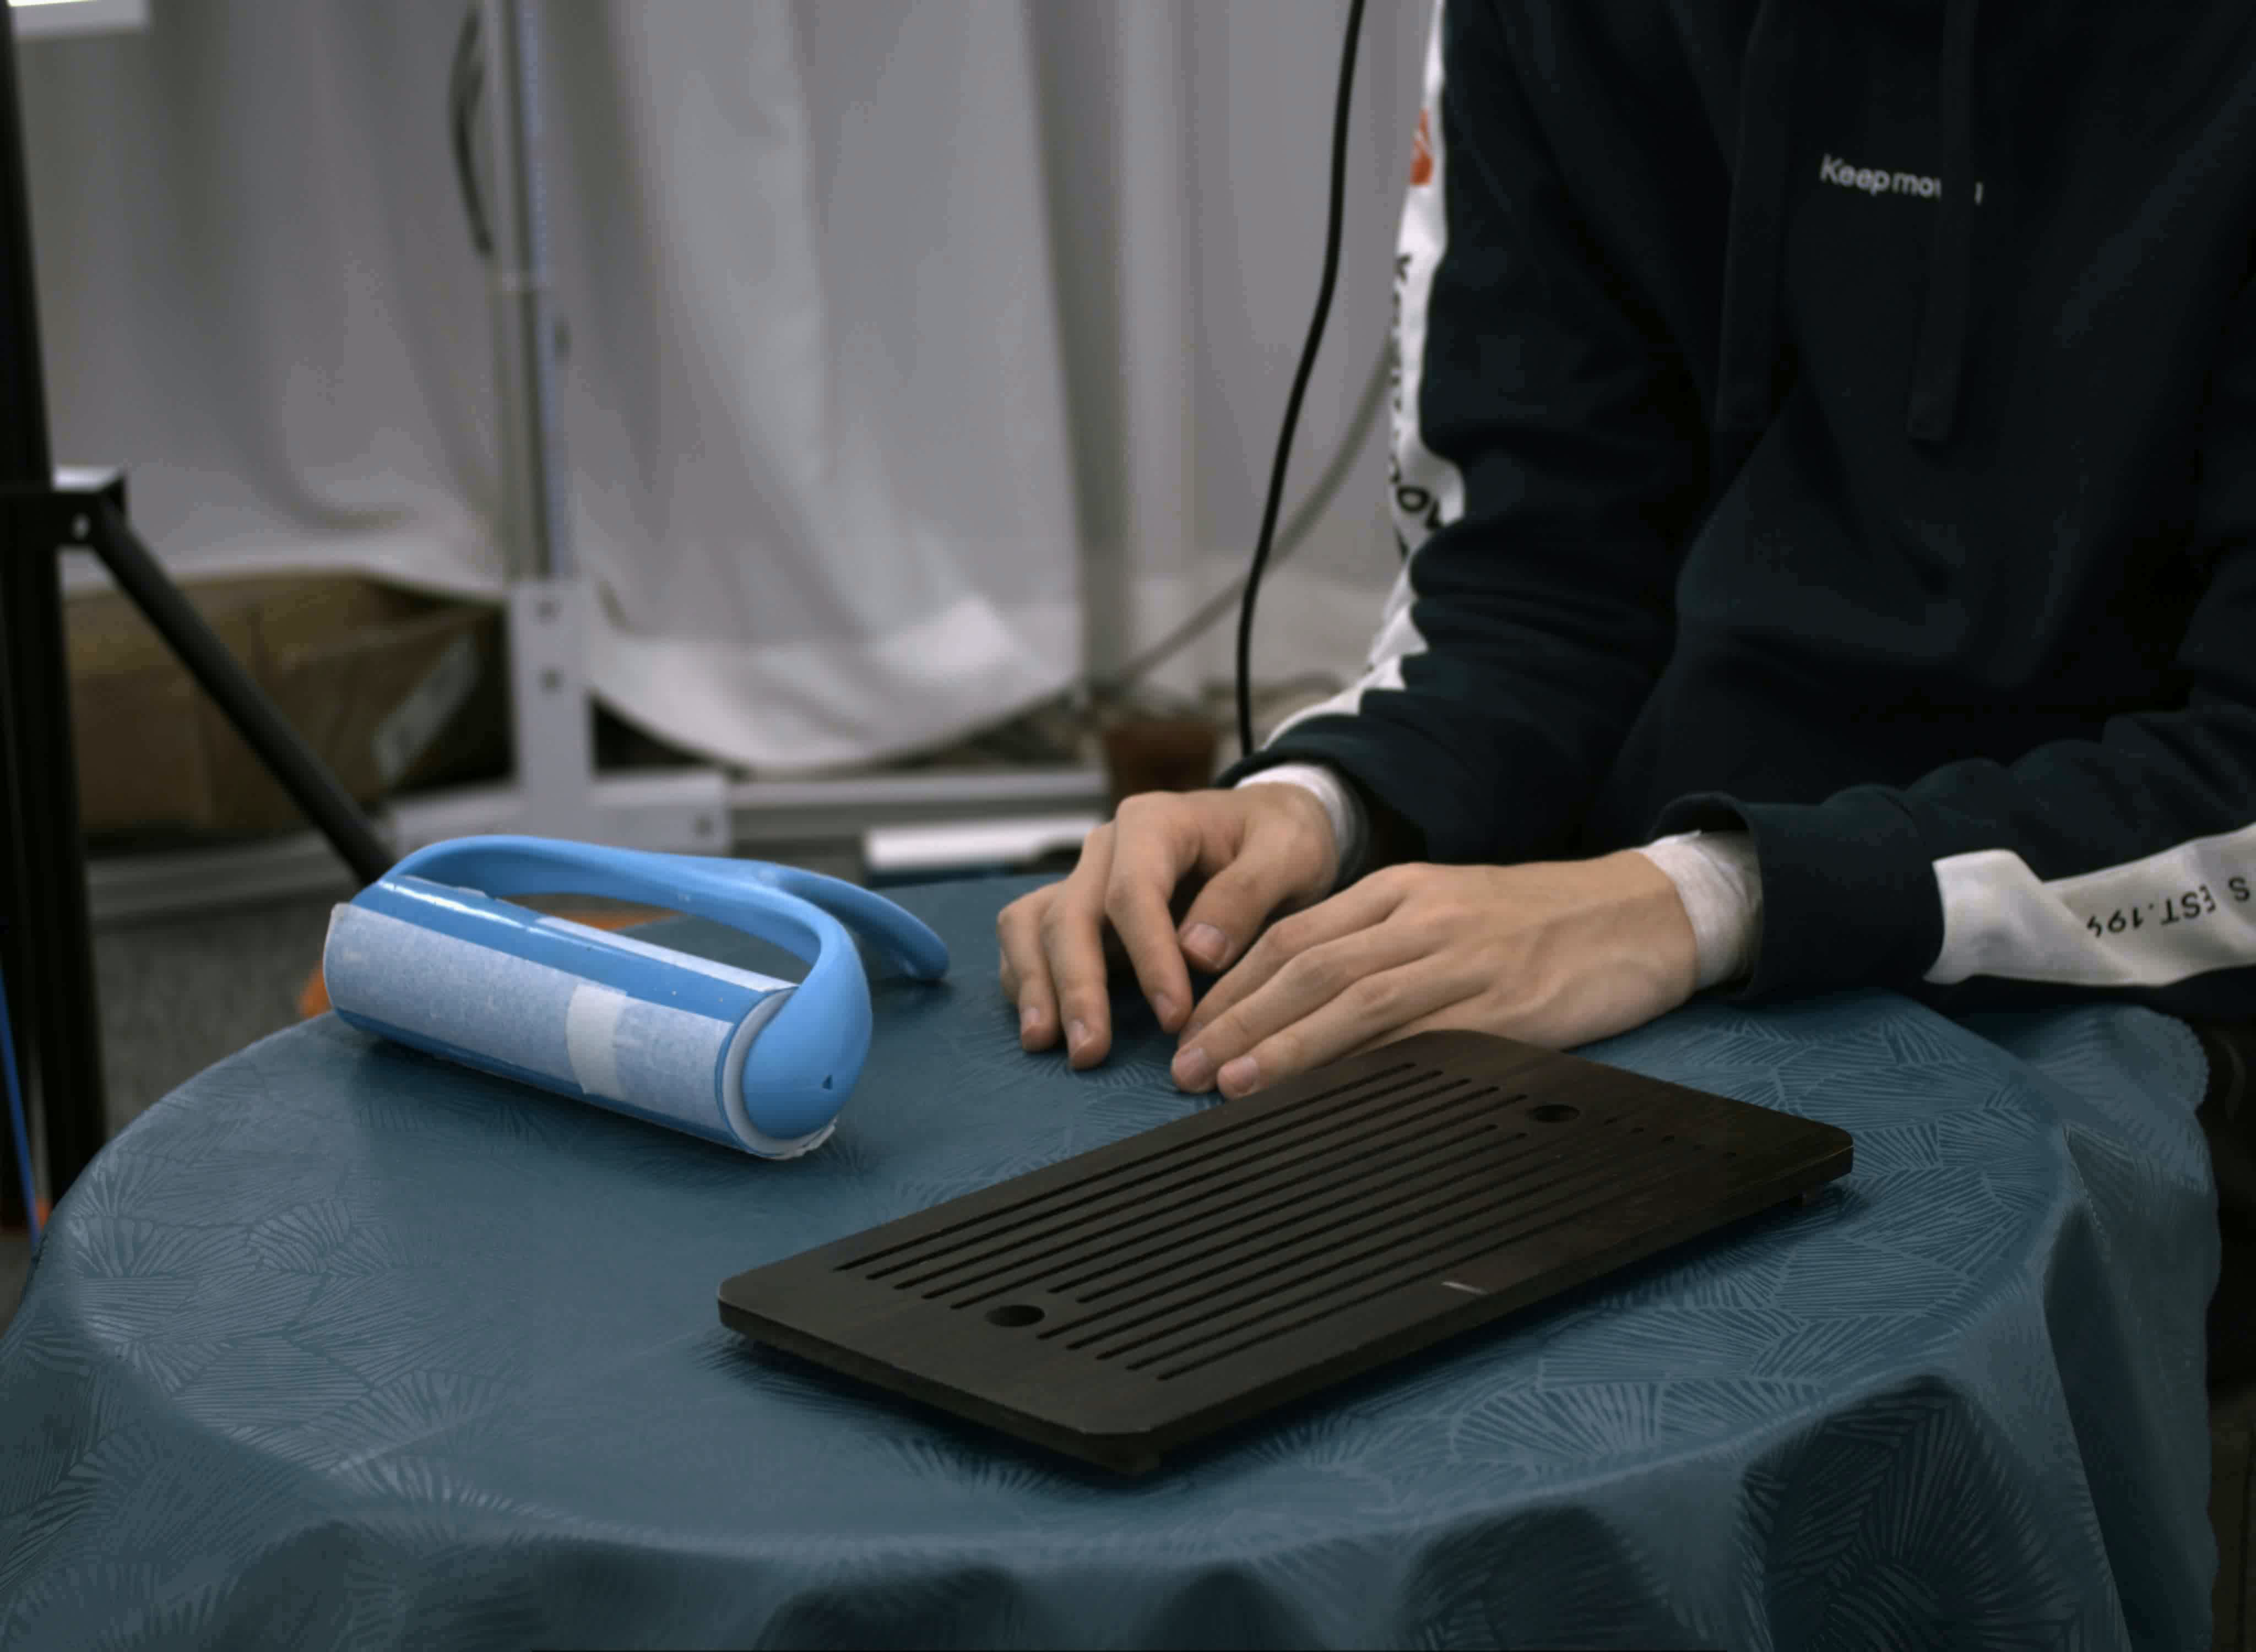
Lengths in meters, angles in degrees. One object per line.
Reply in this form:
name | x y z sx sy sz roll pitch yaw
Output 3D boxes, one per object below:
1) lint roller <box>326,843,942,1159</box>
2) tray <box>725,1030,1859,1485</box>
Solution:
lint roller | -0.131 0.043 1.704 0.234 0.068 0.176 10 21 42
tray | 0.051 0.117 1.485 0.299 0.018 0.174 -17 21 -40
